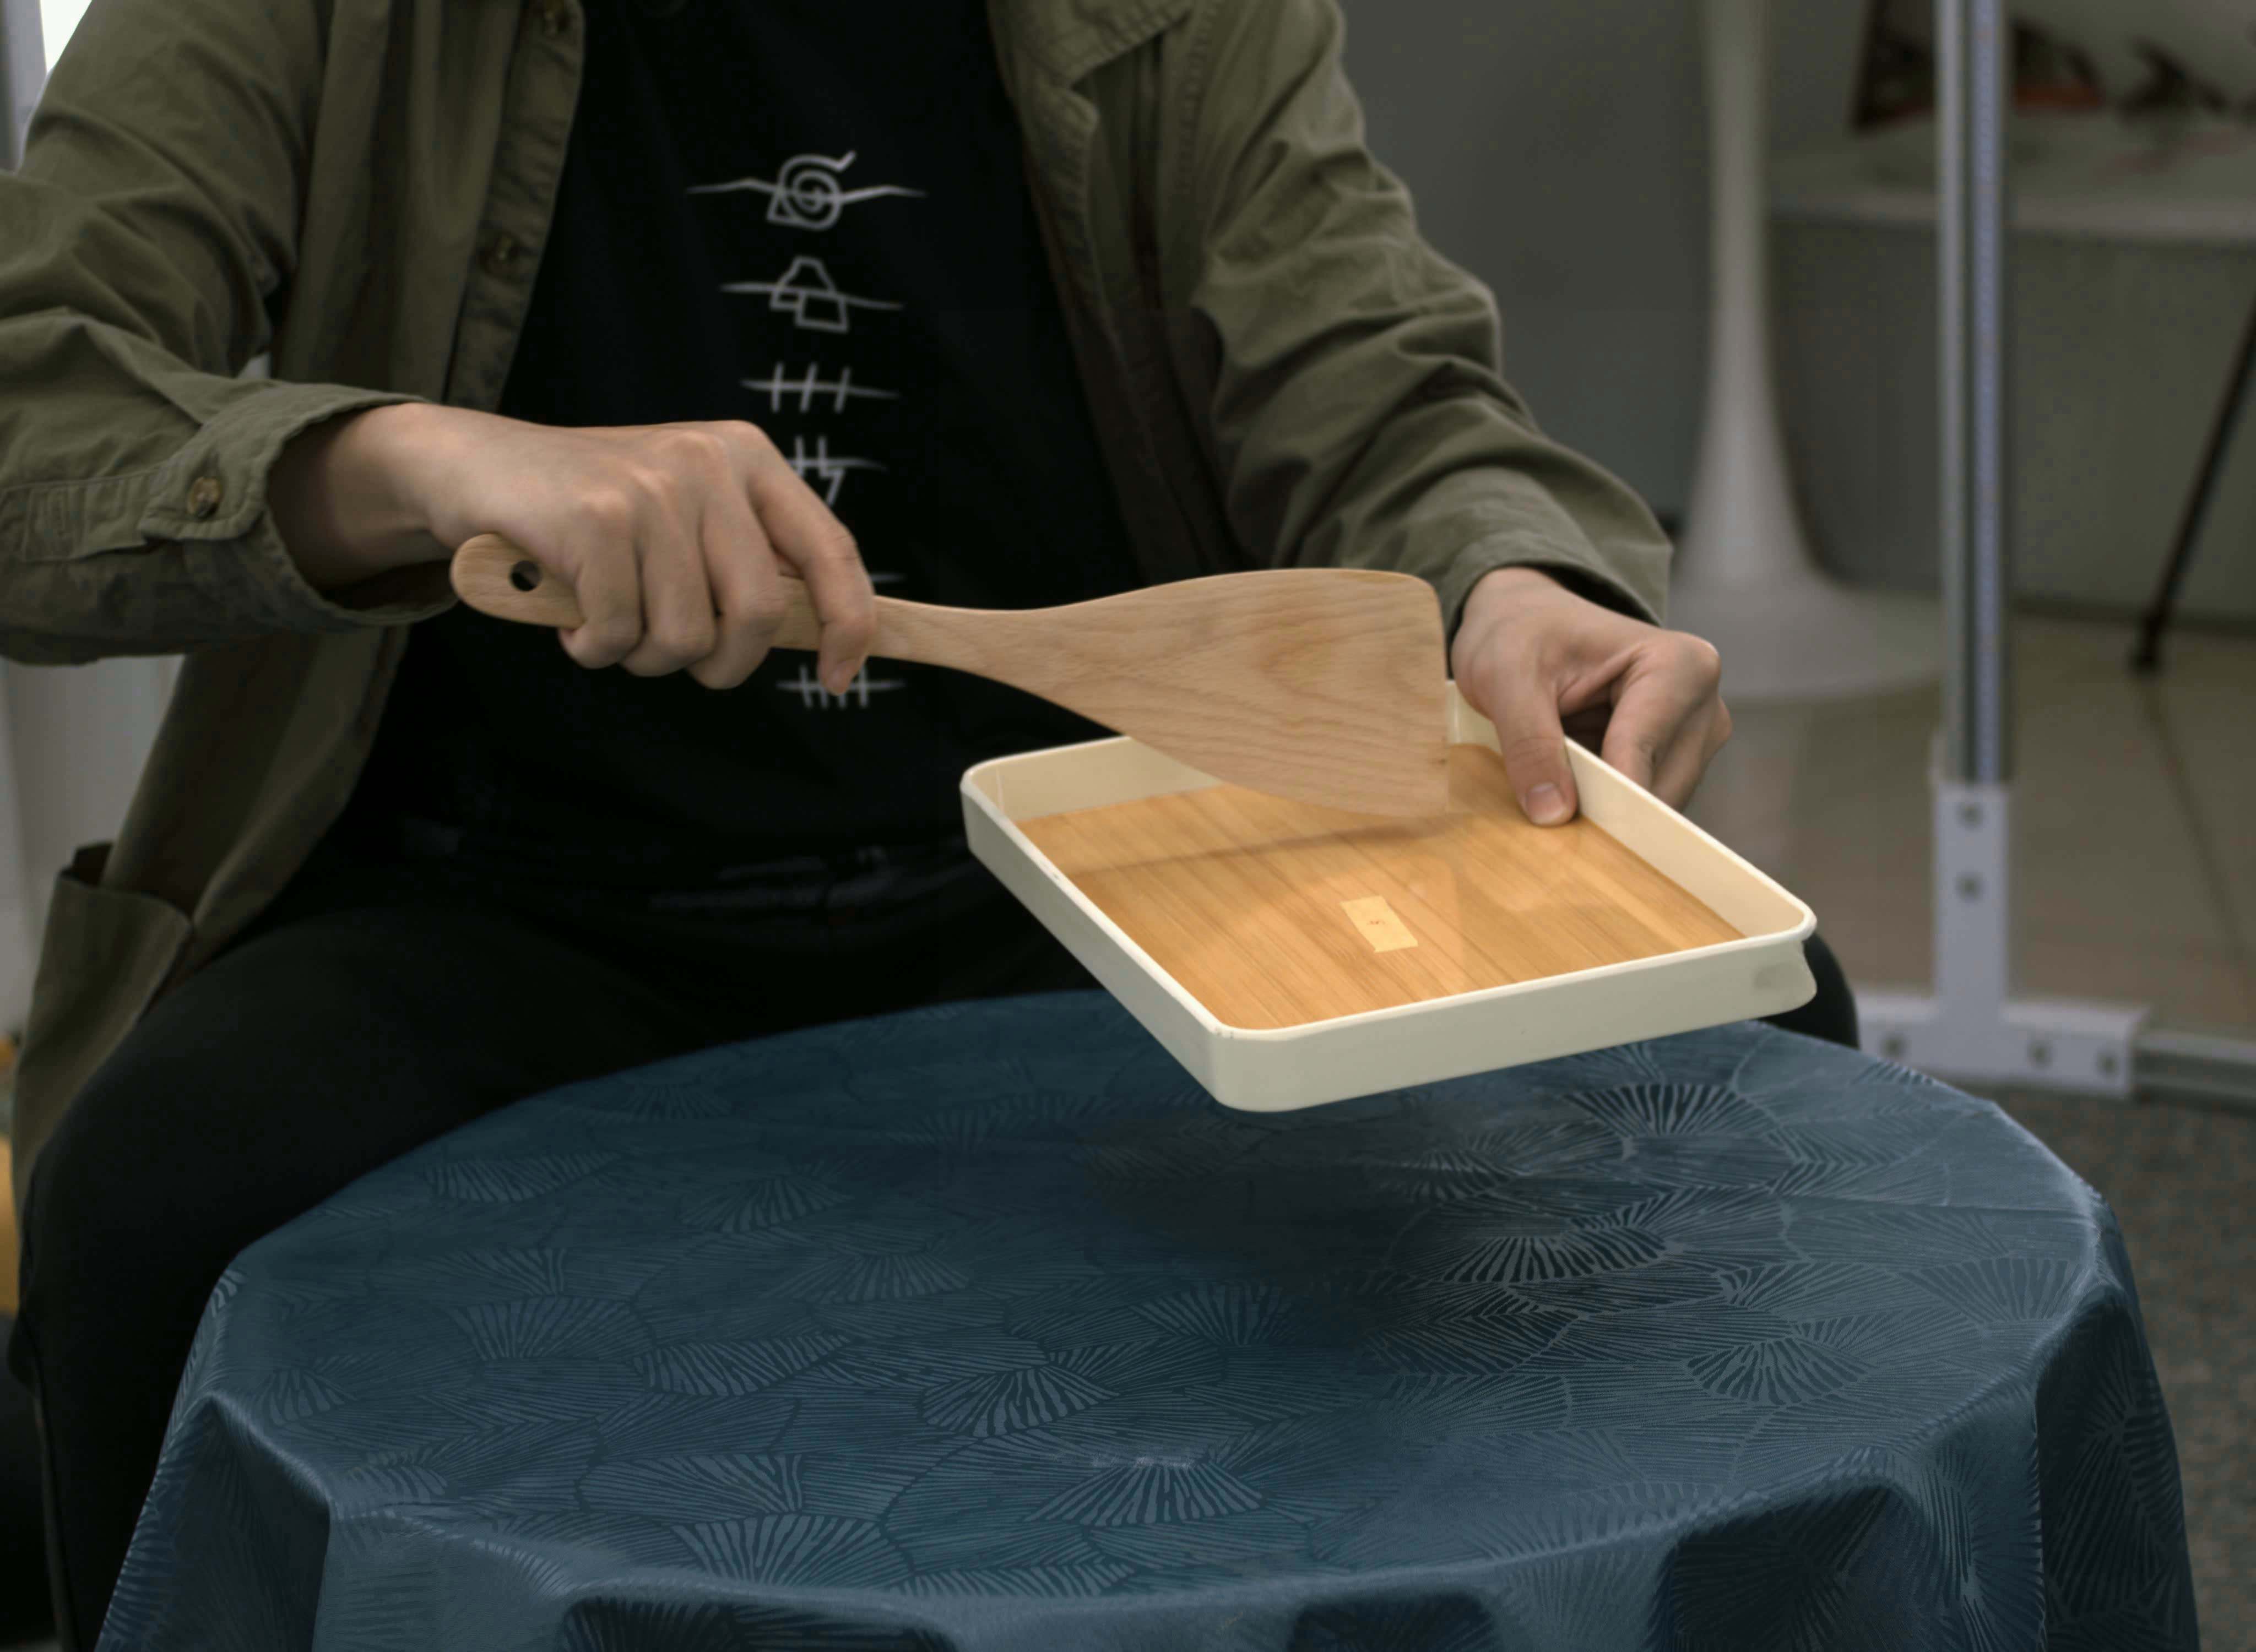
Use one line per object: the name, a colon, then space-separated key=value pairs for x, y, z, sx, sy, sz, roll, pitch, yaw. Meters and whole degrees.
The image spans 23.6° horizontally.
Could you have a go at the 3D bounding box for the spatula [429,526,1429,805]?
spatula: x=-0.059 y=-0.064 z=1.710 sx=0.322 sy=0.081 sz=0.016 roll=7 pitch=3 yaw=-9

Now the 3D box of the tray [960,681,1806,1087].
tray: x=0.072 y=0.013 z=1.683 sx=0.188 sy=0.027 sz=0.303 roll=-10 pitch=17 yaw=-14
